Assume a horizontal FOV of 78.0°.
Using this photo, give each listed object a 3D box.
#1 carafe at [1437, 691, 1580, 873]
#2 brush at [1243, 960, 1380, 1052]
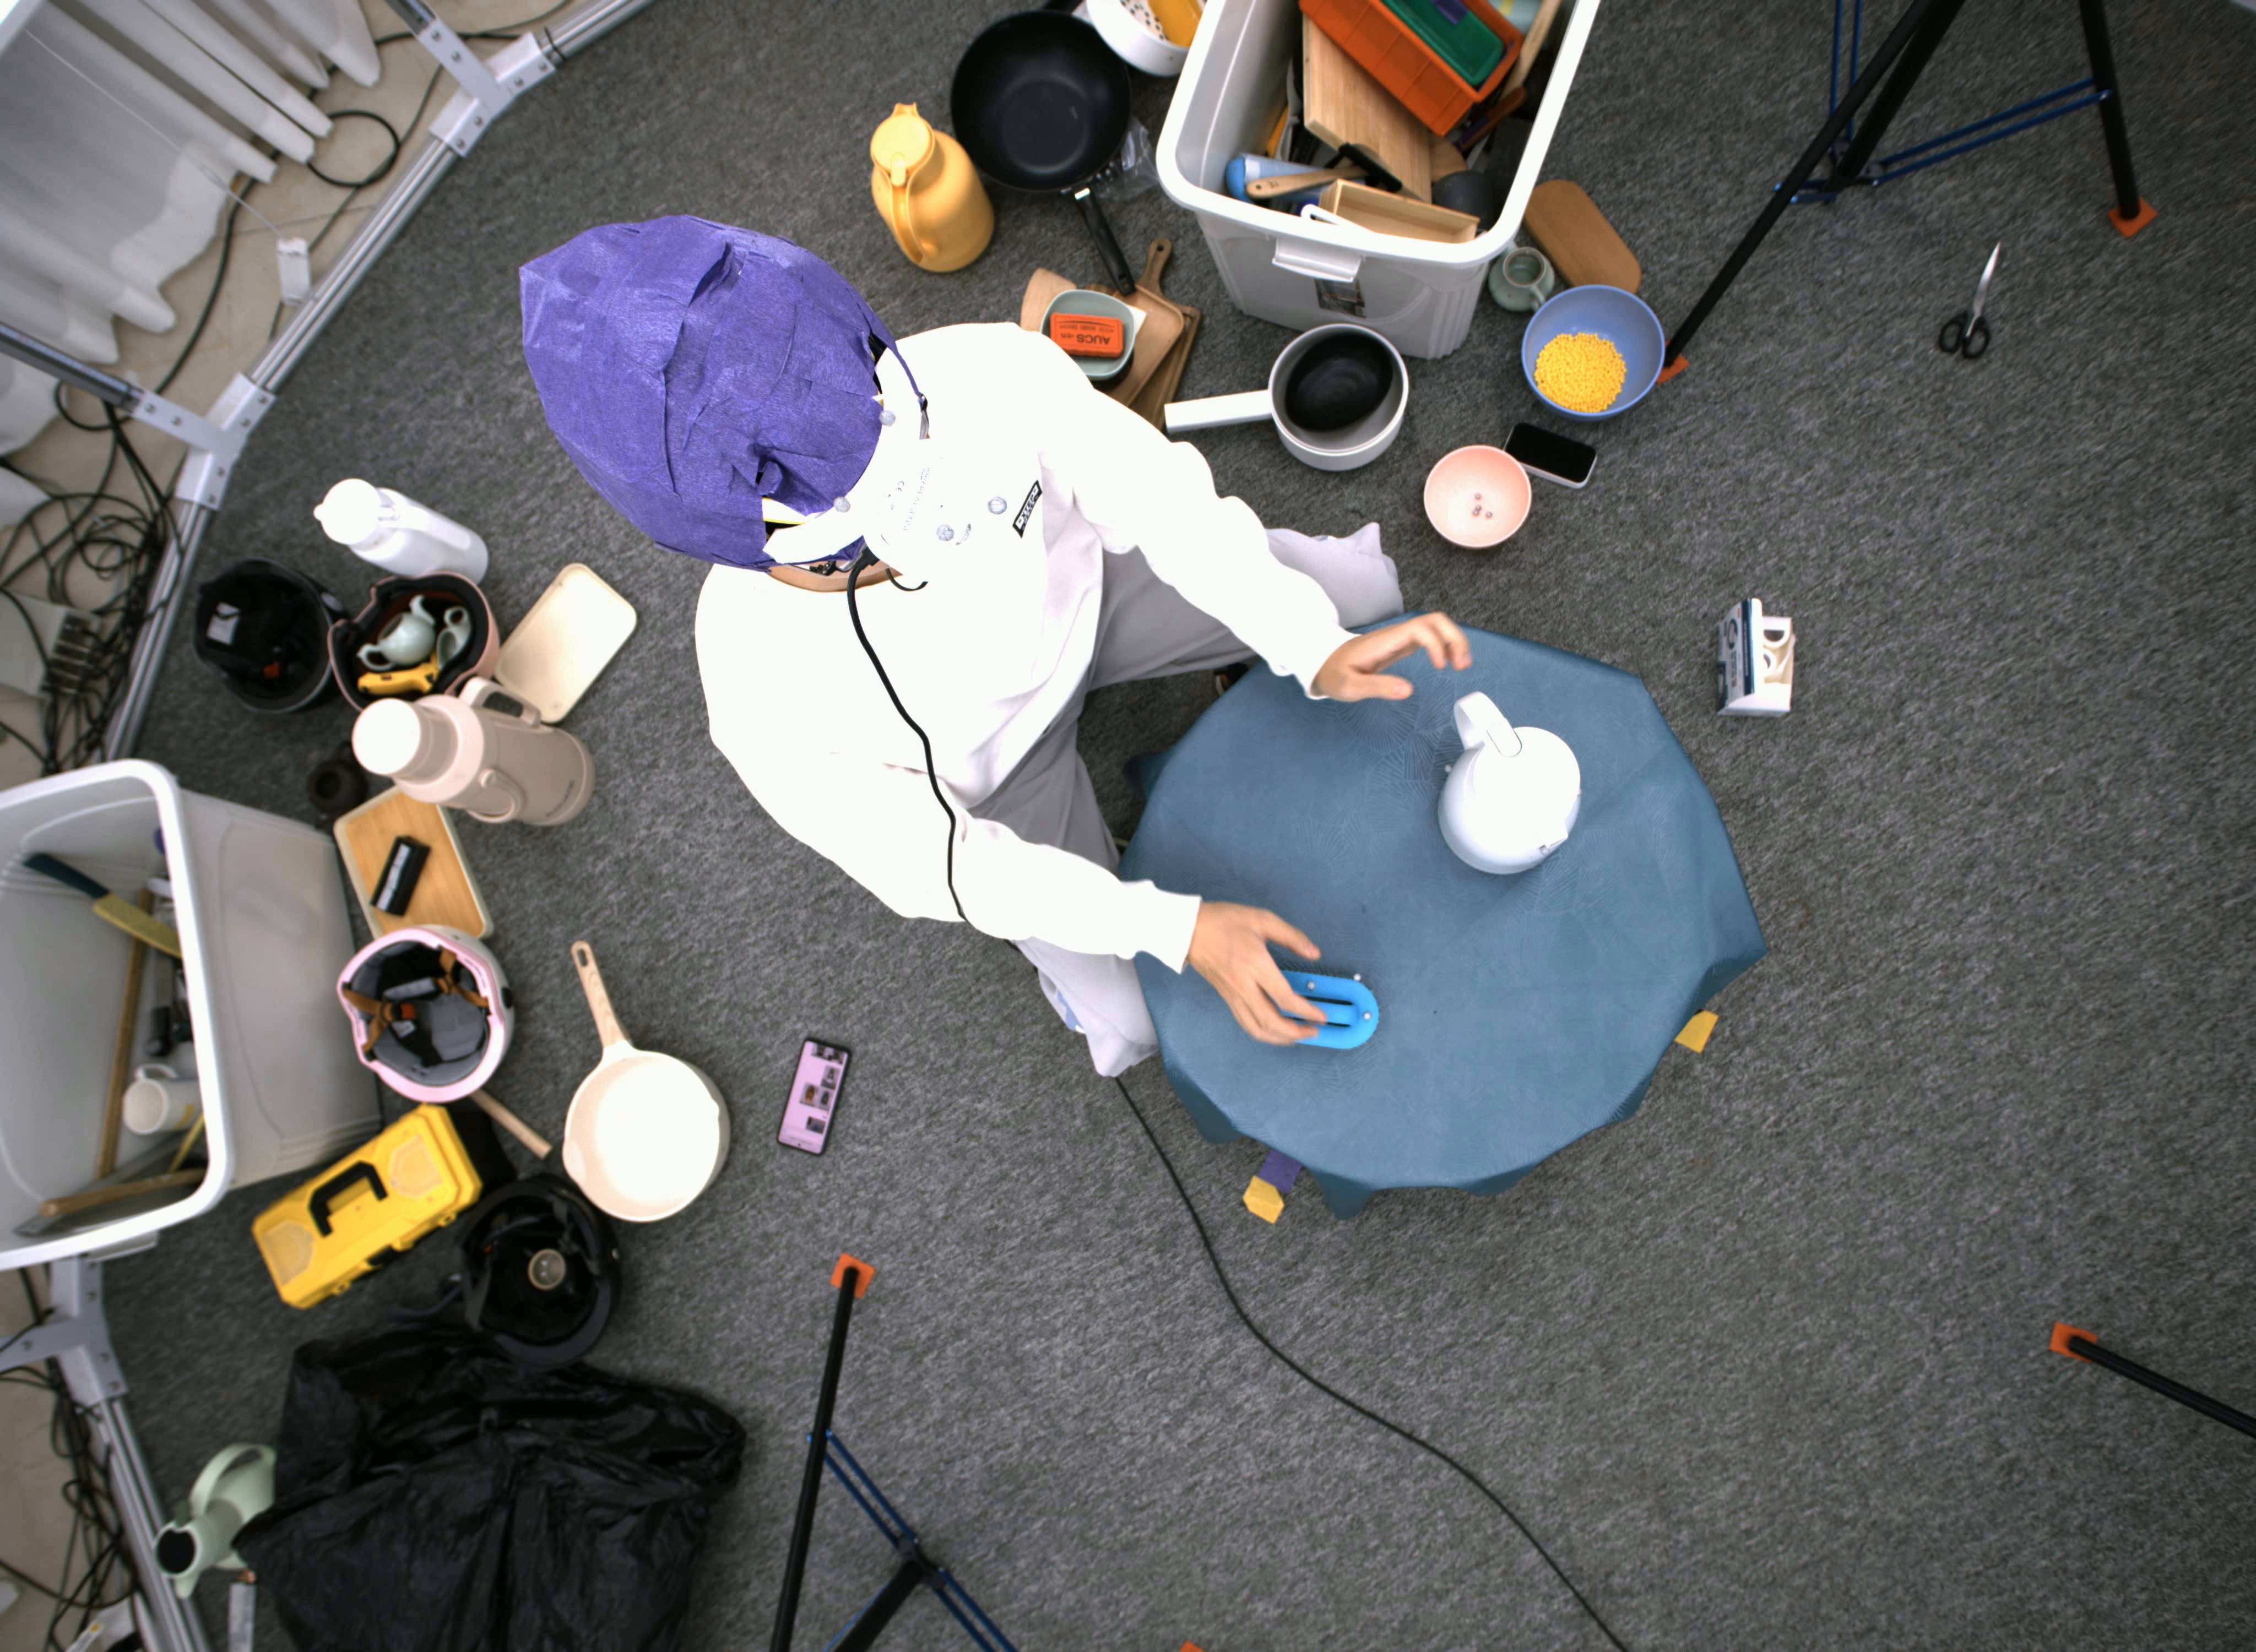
[{"bbox_3d":[0.360,-0.048,1.322,0.133,0.249,0.166,-28,80,6],"label":"carafe"},{"bbox_3d":[0.189,0.186,1.435,0.142,0.063,0.084,9,92,12],"label":"brush"}]
